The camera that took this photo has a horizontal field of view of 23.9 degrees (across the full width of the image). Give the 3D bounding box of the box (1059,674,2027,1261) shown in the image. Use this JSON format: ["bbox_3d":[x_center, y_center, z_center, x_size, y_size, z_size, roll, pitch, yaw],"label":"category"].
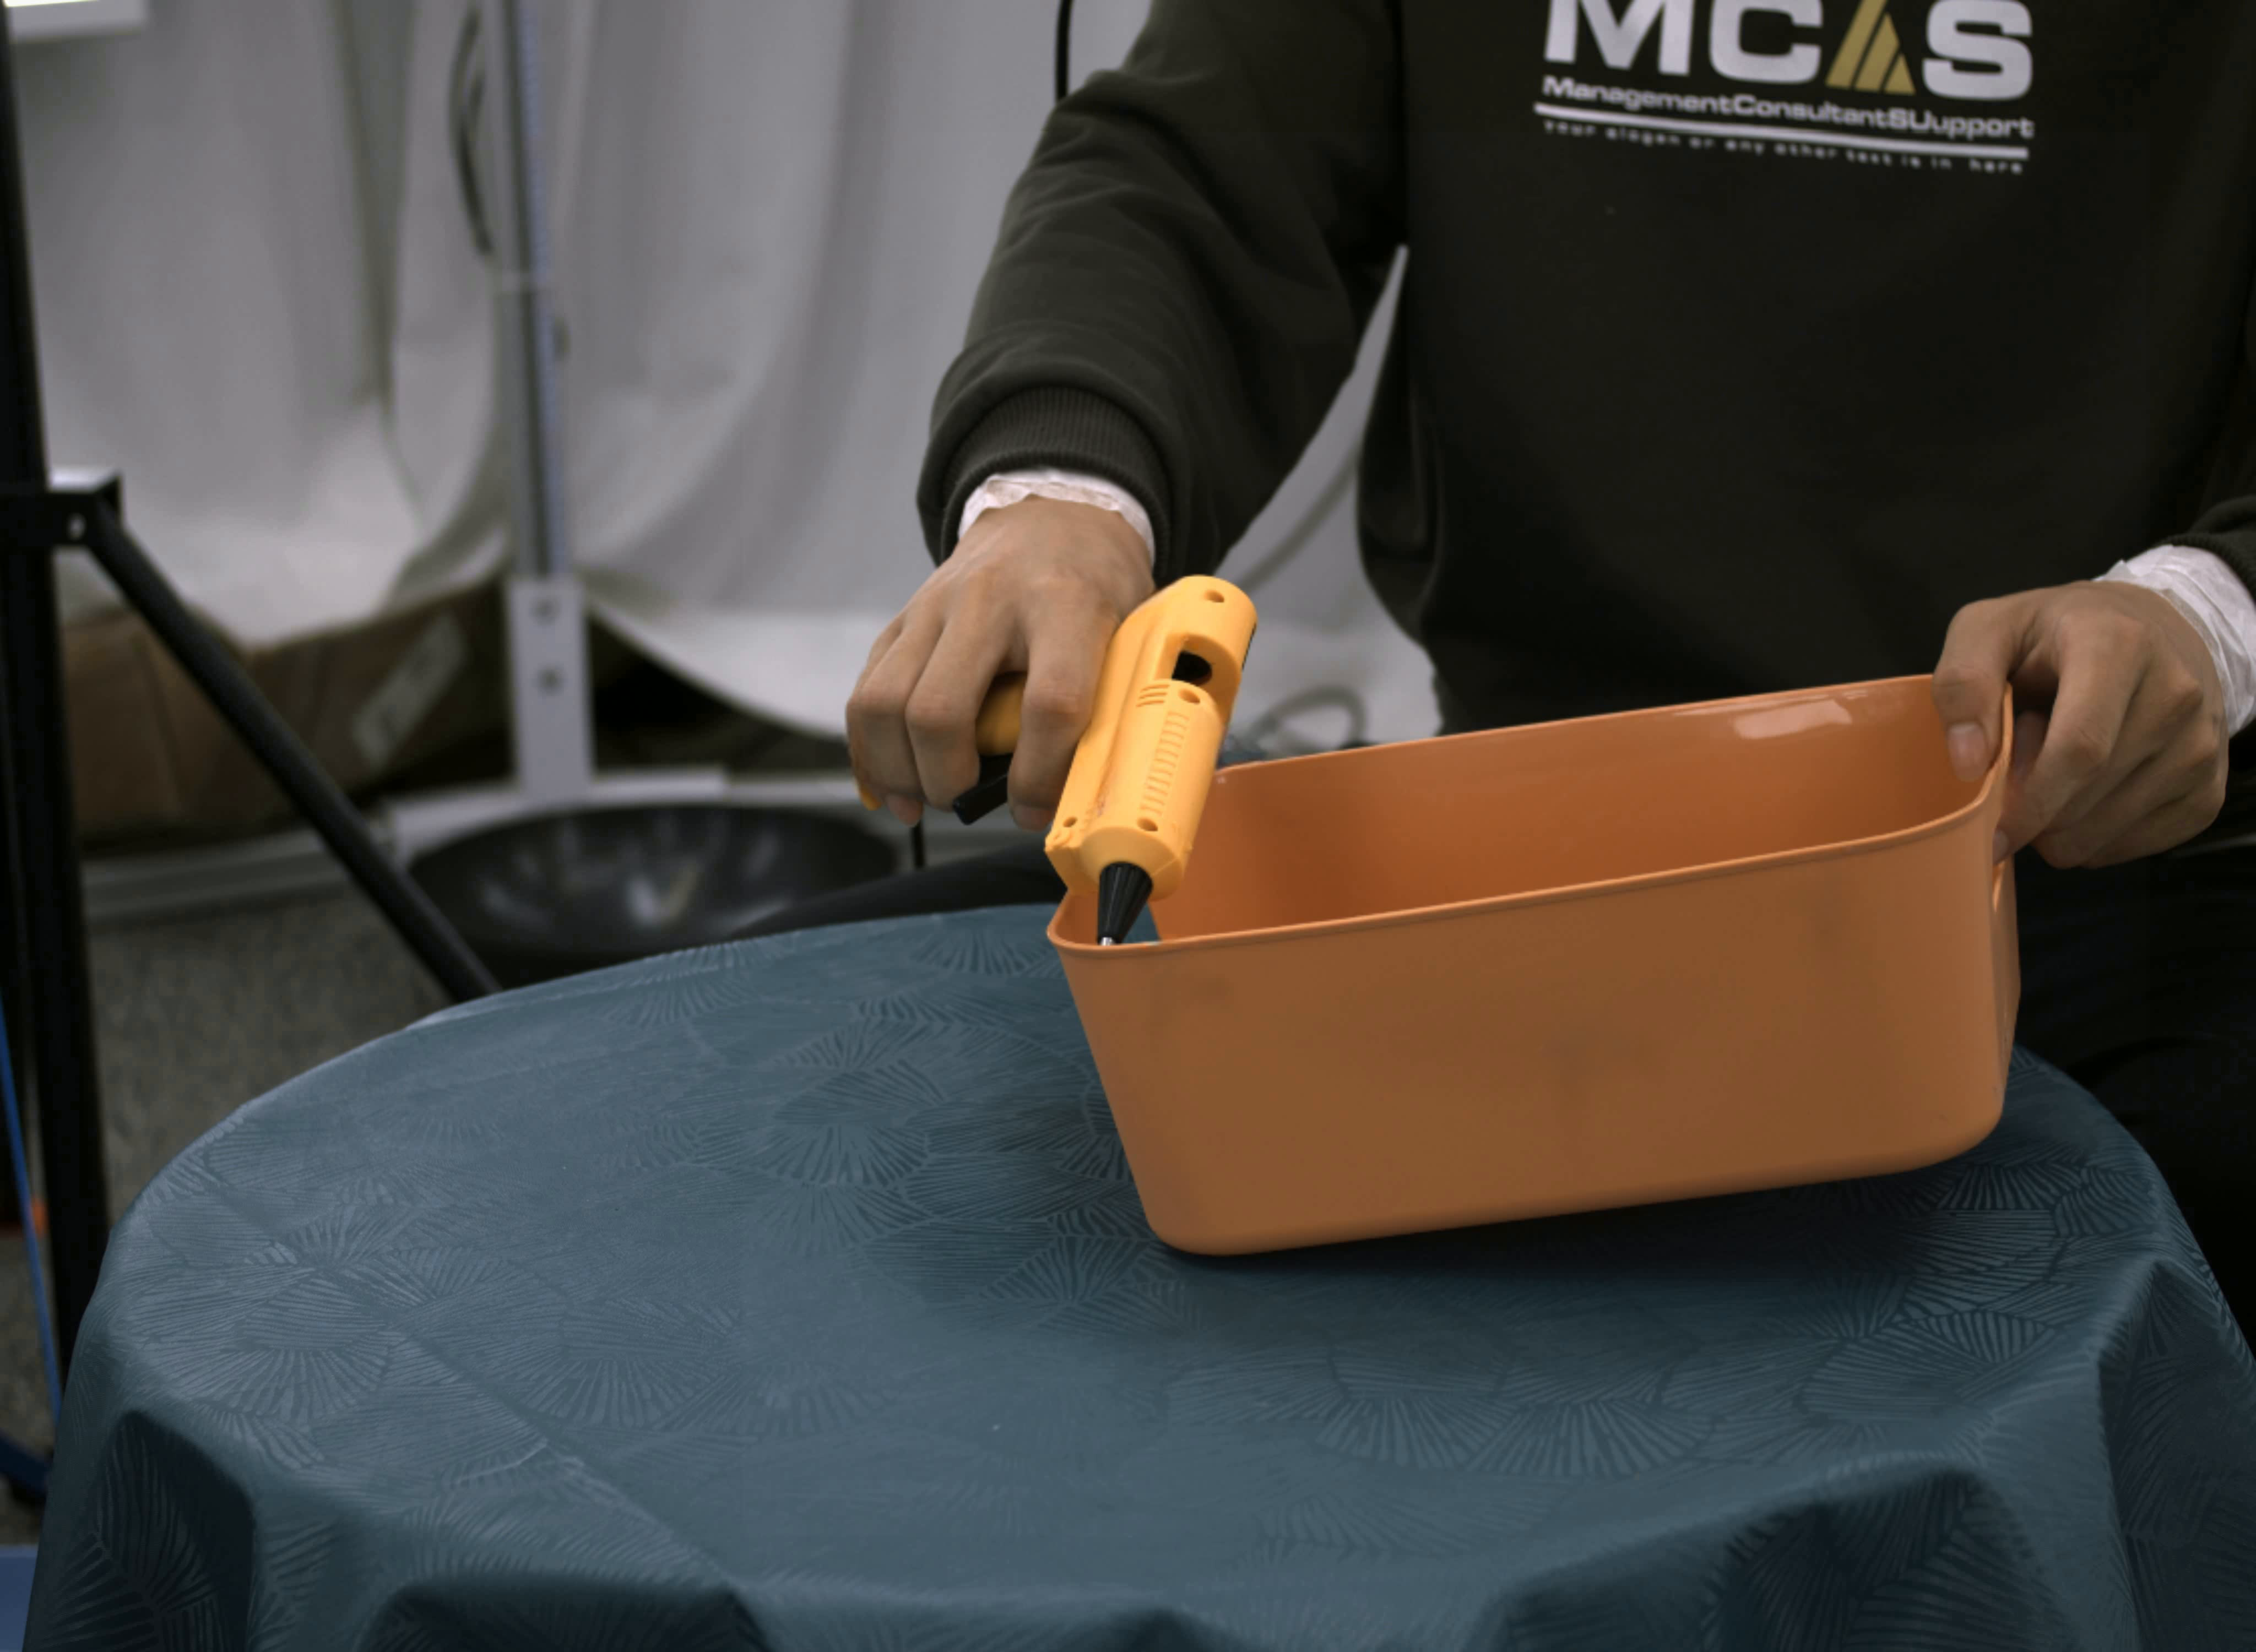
[{"bbox_3d":[0.129,0.042,1.530,0.275,0.102,0.198,-9,12,14],"label":"box"}]

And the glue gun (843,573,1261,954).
[{"bbox_3d":[-0.030,-0.004,1.542,0.134,0.030,0.152,-16,36,23],"label":"glue gun"}]
